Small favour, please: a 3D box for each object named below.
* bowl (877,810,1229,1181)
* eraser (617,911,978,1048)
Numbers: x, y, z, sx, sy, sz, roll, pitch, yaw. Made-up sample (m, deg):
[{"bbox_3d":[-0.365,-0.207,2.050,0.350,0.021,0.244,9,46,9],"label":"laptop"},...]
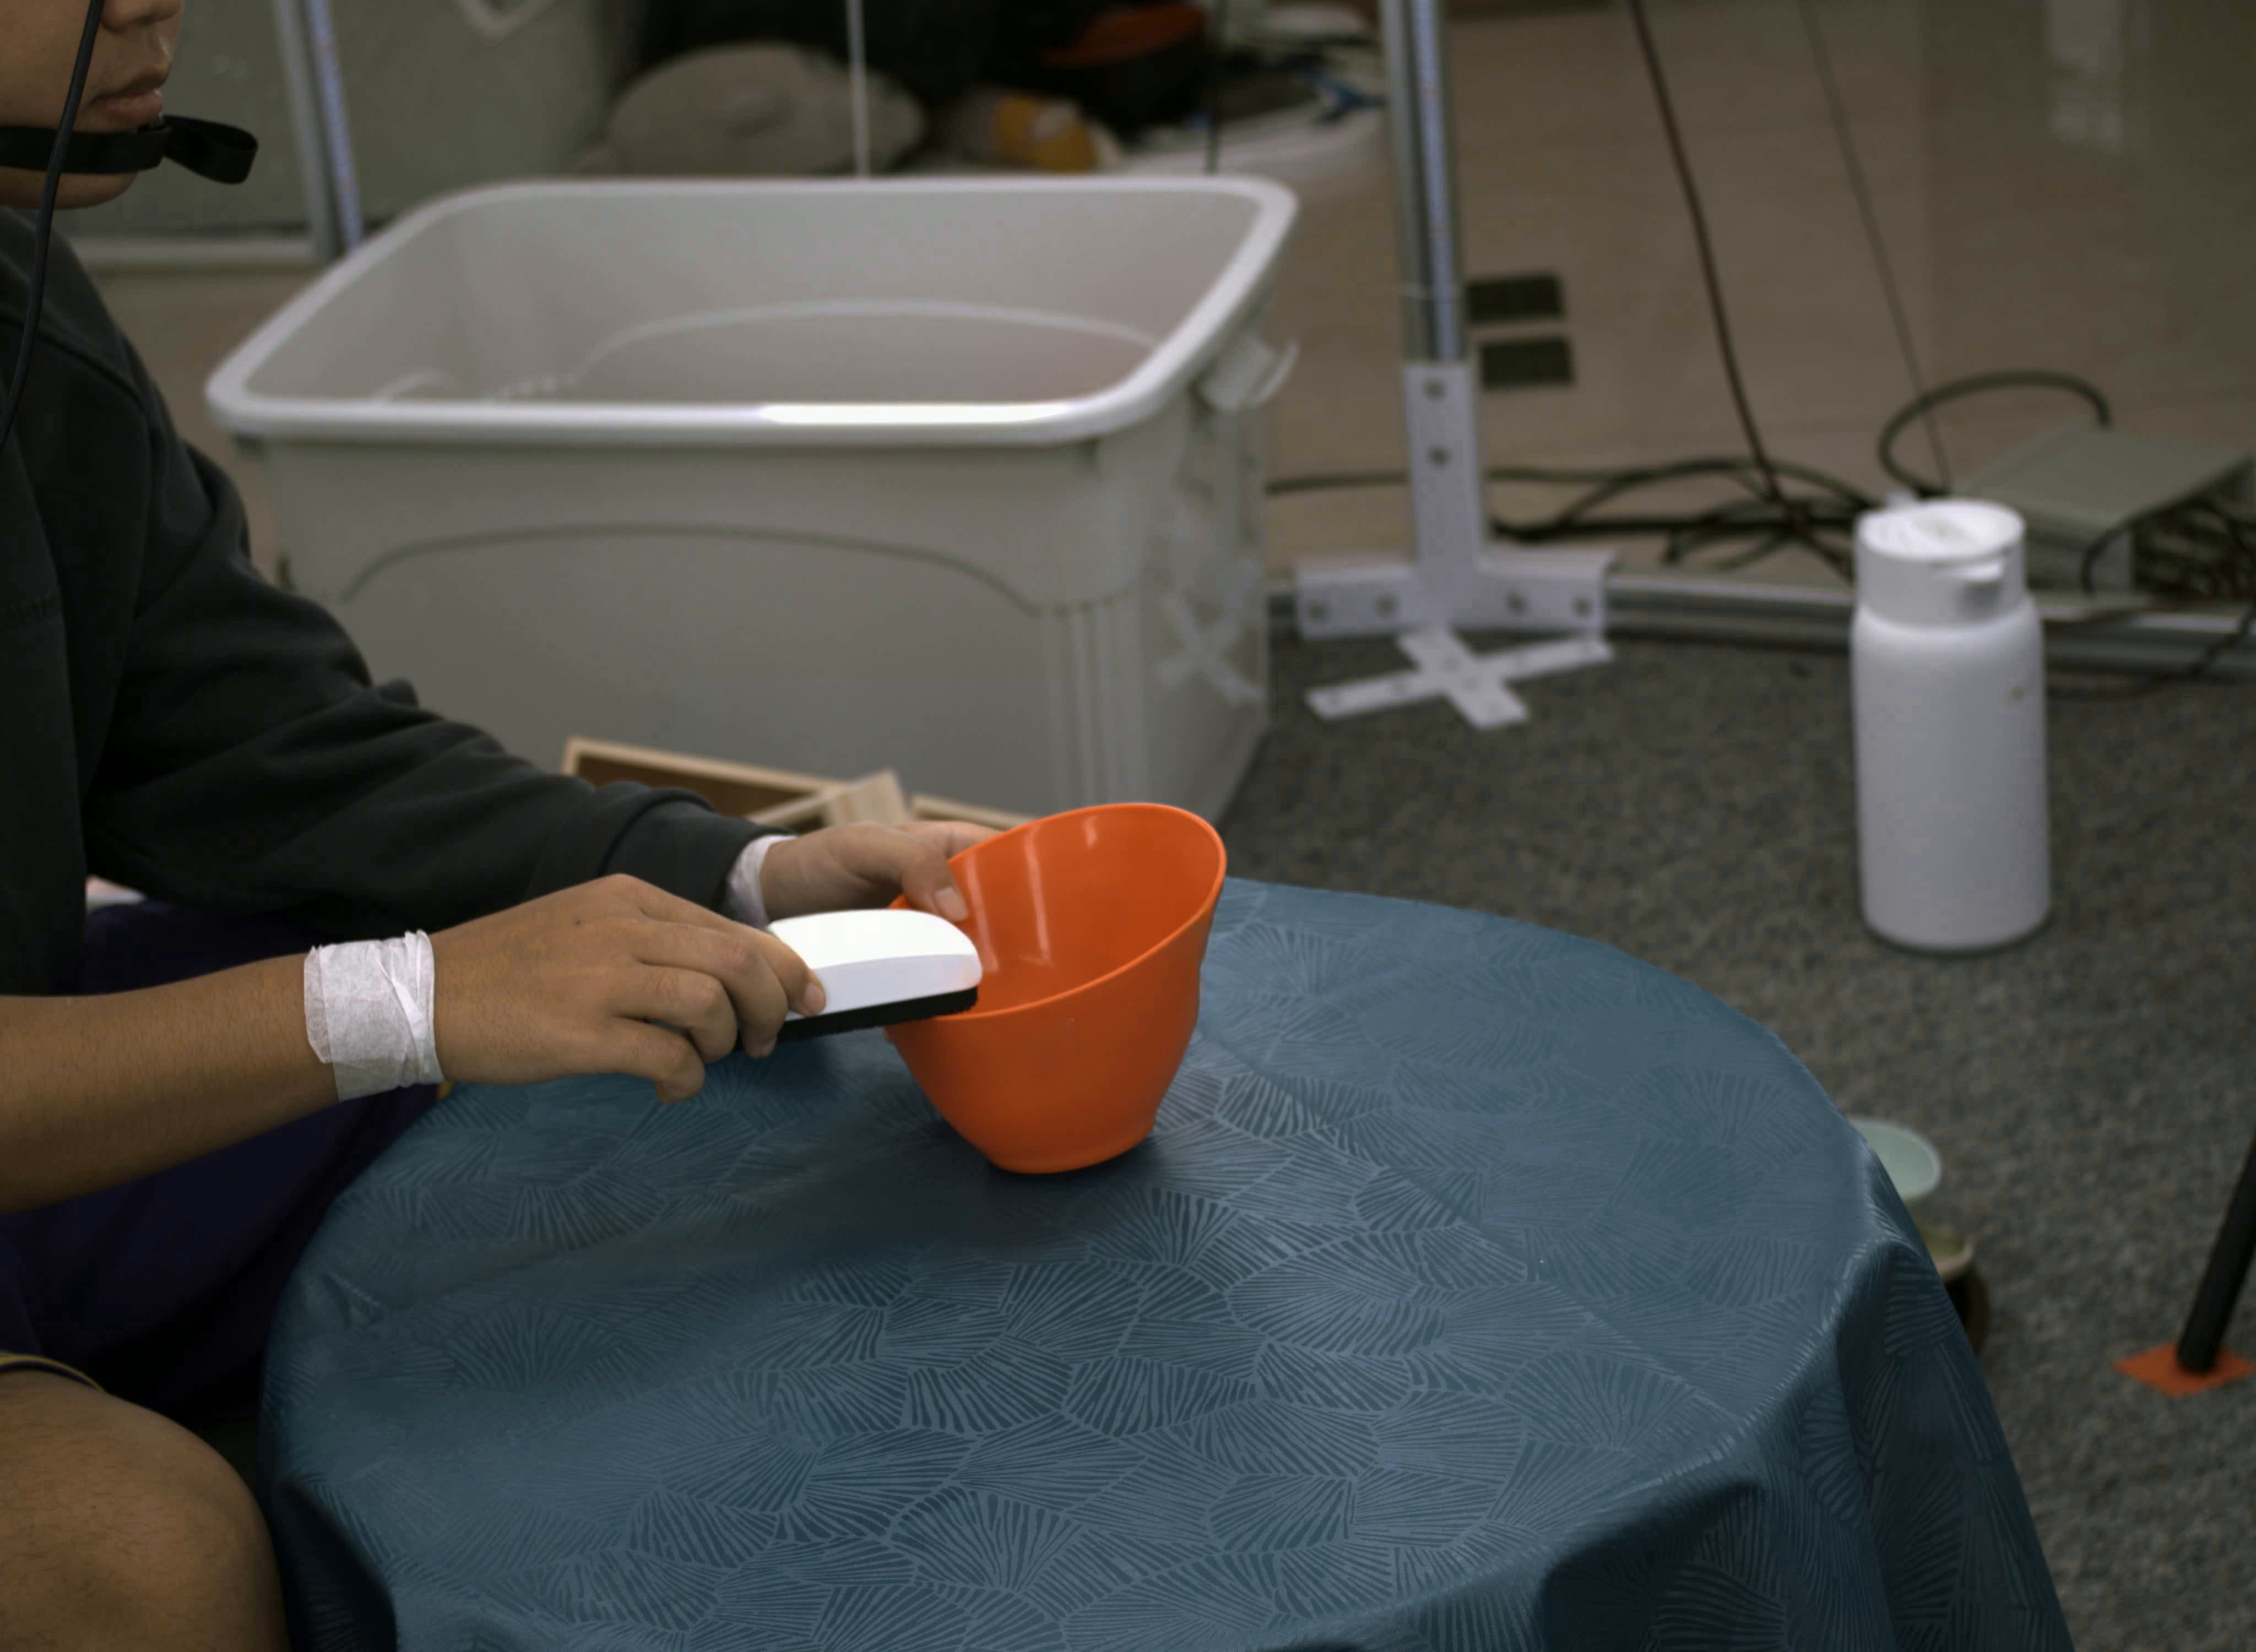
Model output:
[{"bbox_3d":[-0.024,0.071,2.172,0.148,0.106,0.146,-11,21,4],"label":"bowl"},{"bbox_3d":[-0.123,0.054,2.115,0.131,0.035,0.063,-6,16,-24],"label":"eraser"}]
